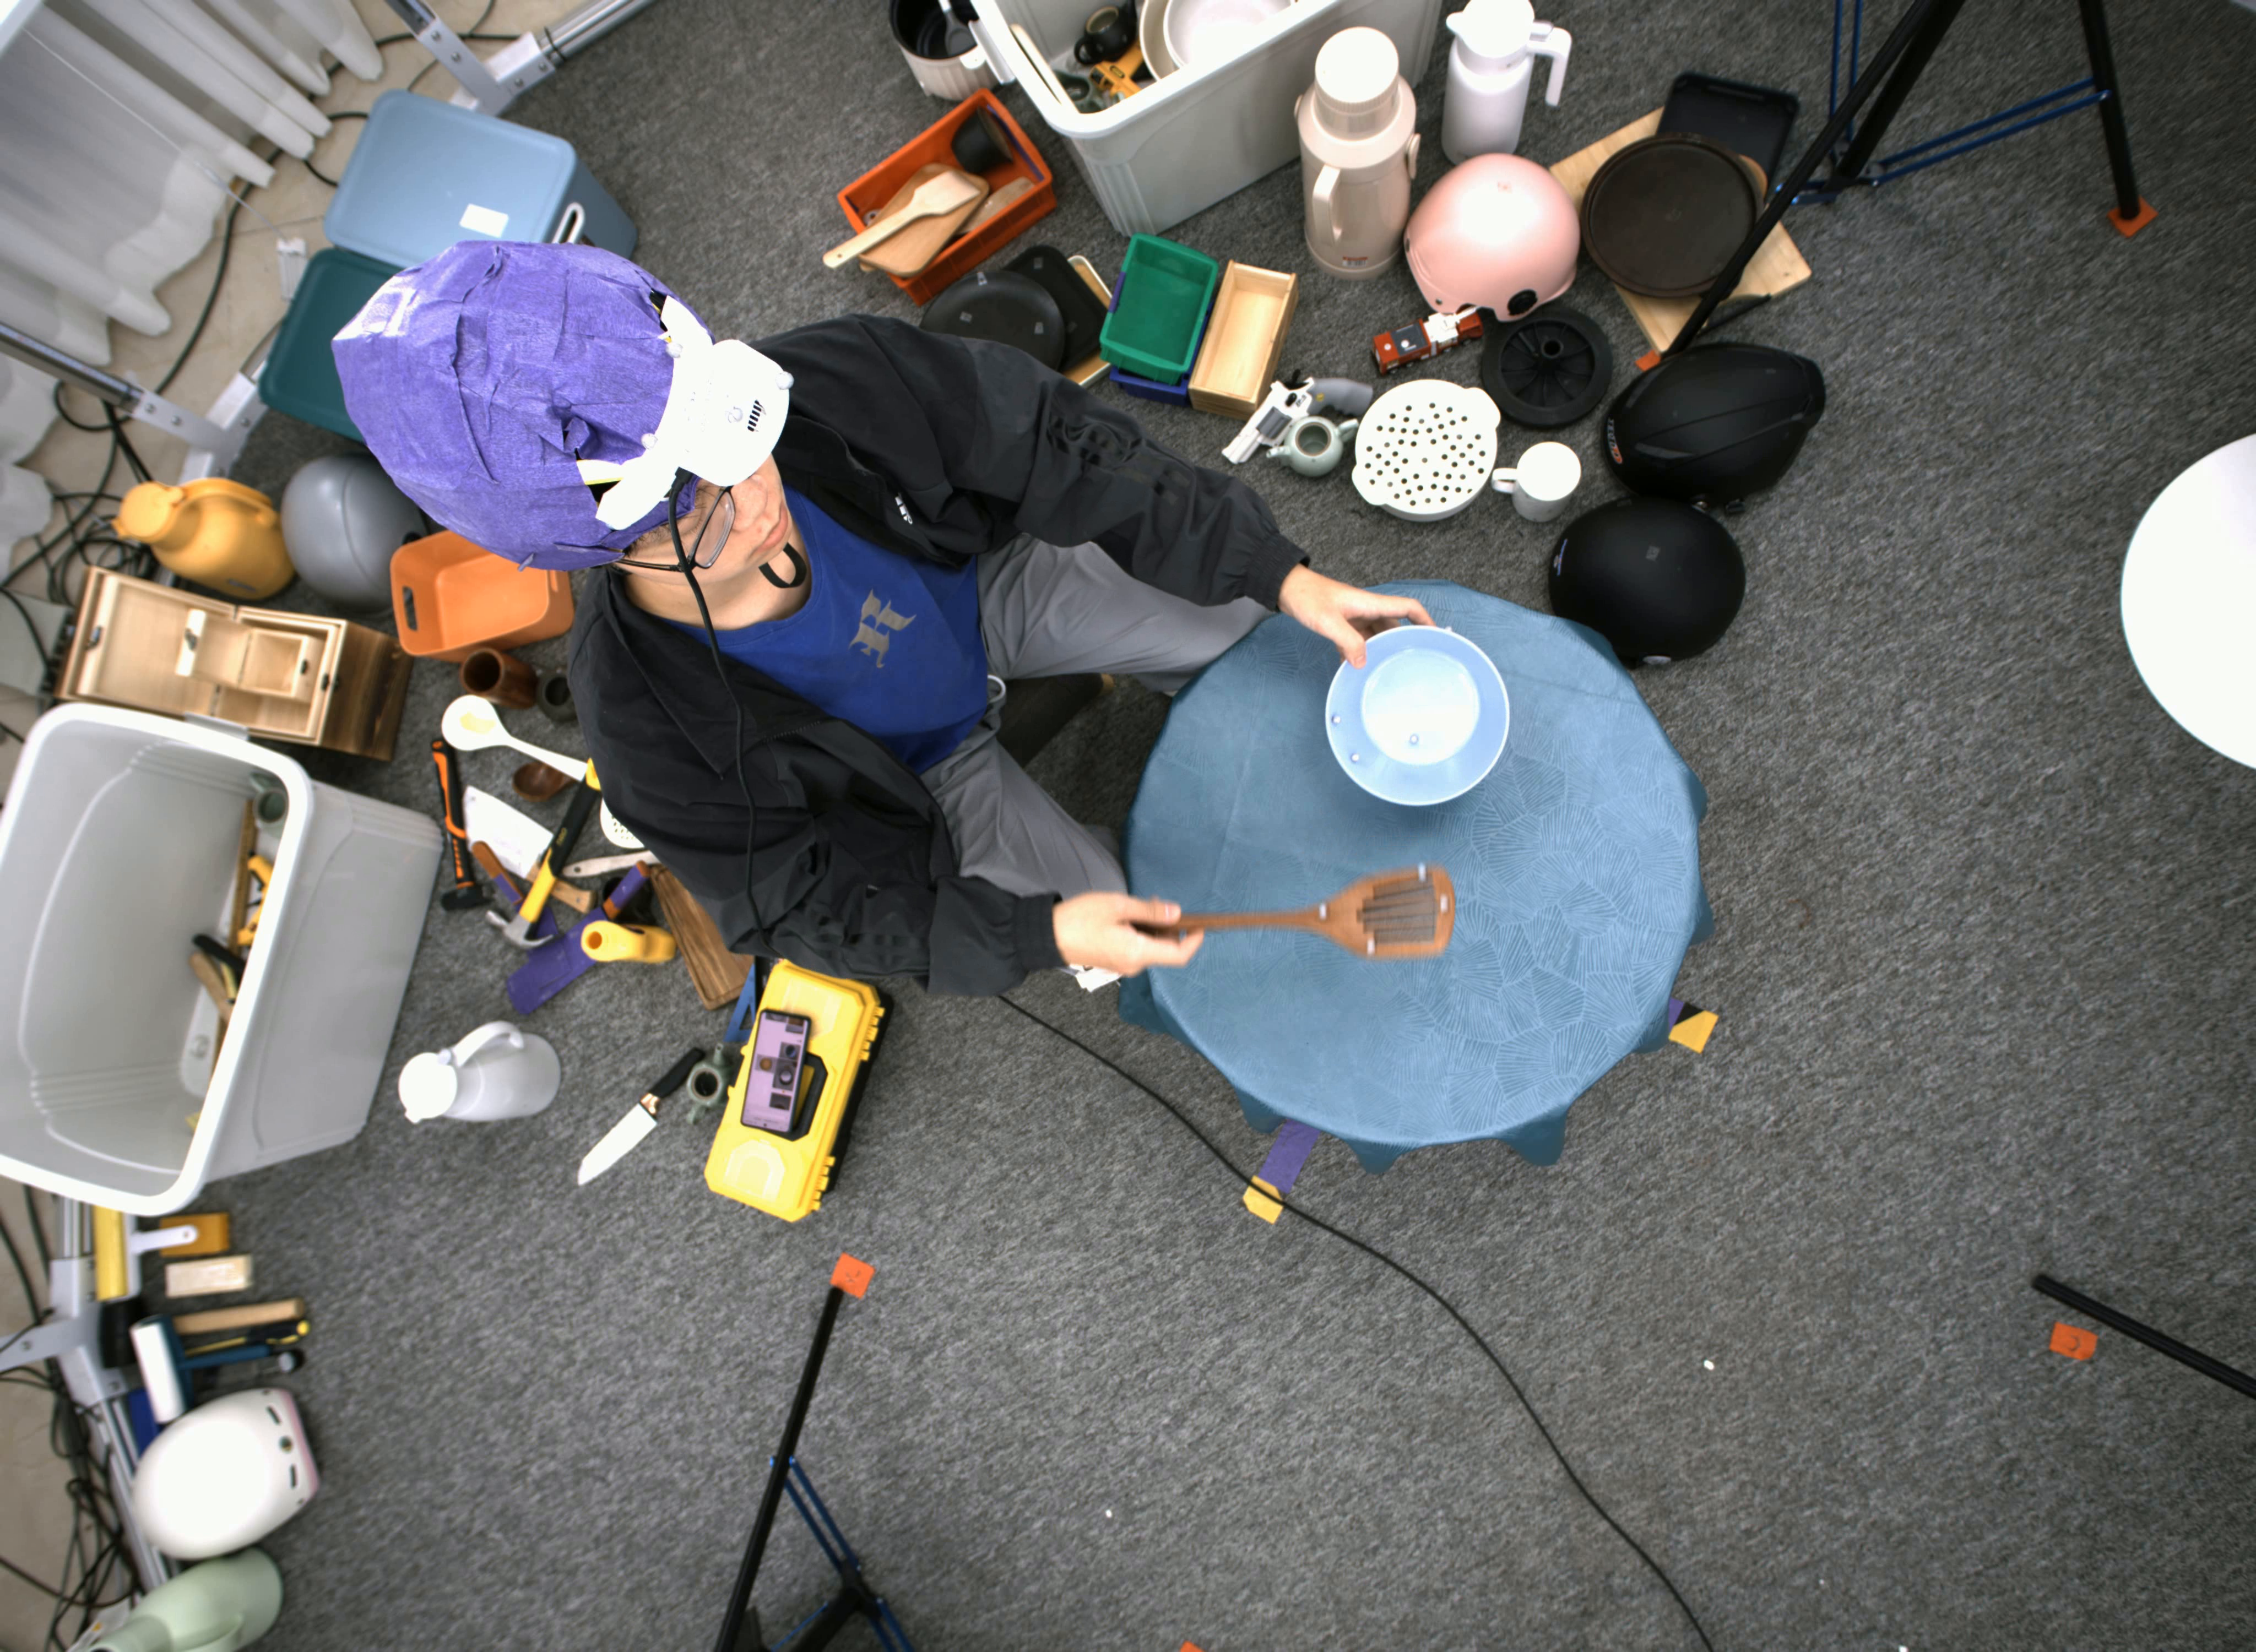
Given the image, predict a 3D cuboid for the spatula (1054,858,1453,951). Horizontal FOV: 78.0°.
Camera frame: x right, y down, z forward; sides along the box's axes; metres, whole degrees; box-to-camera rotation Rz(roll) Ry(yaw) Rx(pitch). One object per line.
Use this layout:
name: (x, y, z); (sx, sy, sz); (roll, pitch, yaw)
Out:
spatula: (0.110, 0.081, 1.298); (0.389, 0.024, 0.084); (-4, 71, 20)

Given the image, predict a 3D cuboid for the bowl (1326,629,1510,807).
bowl: (0.287, -0.112, 1.353); (0.177, 0.069, 0.178); (5, 108, 16)
